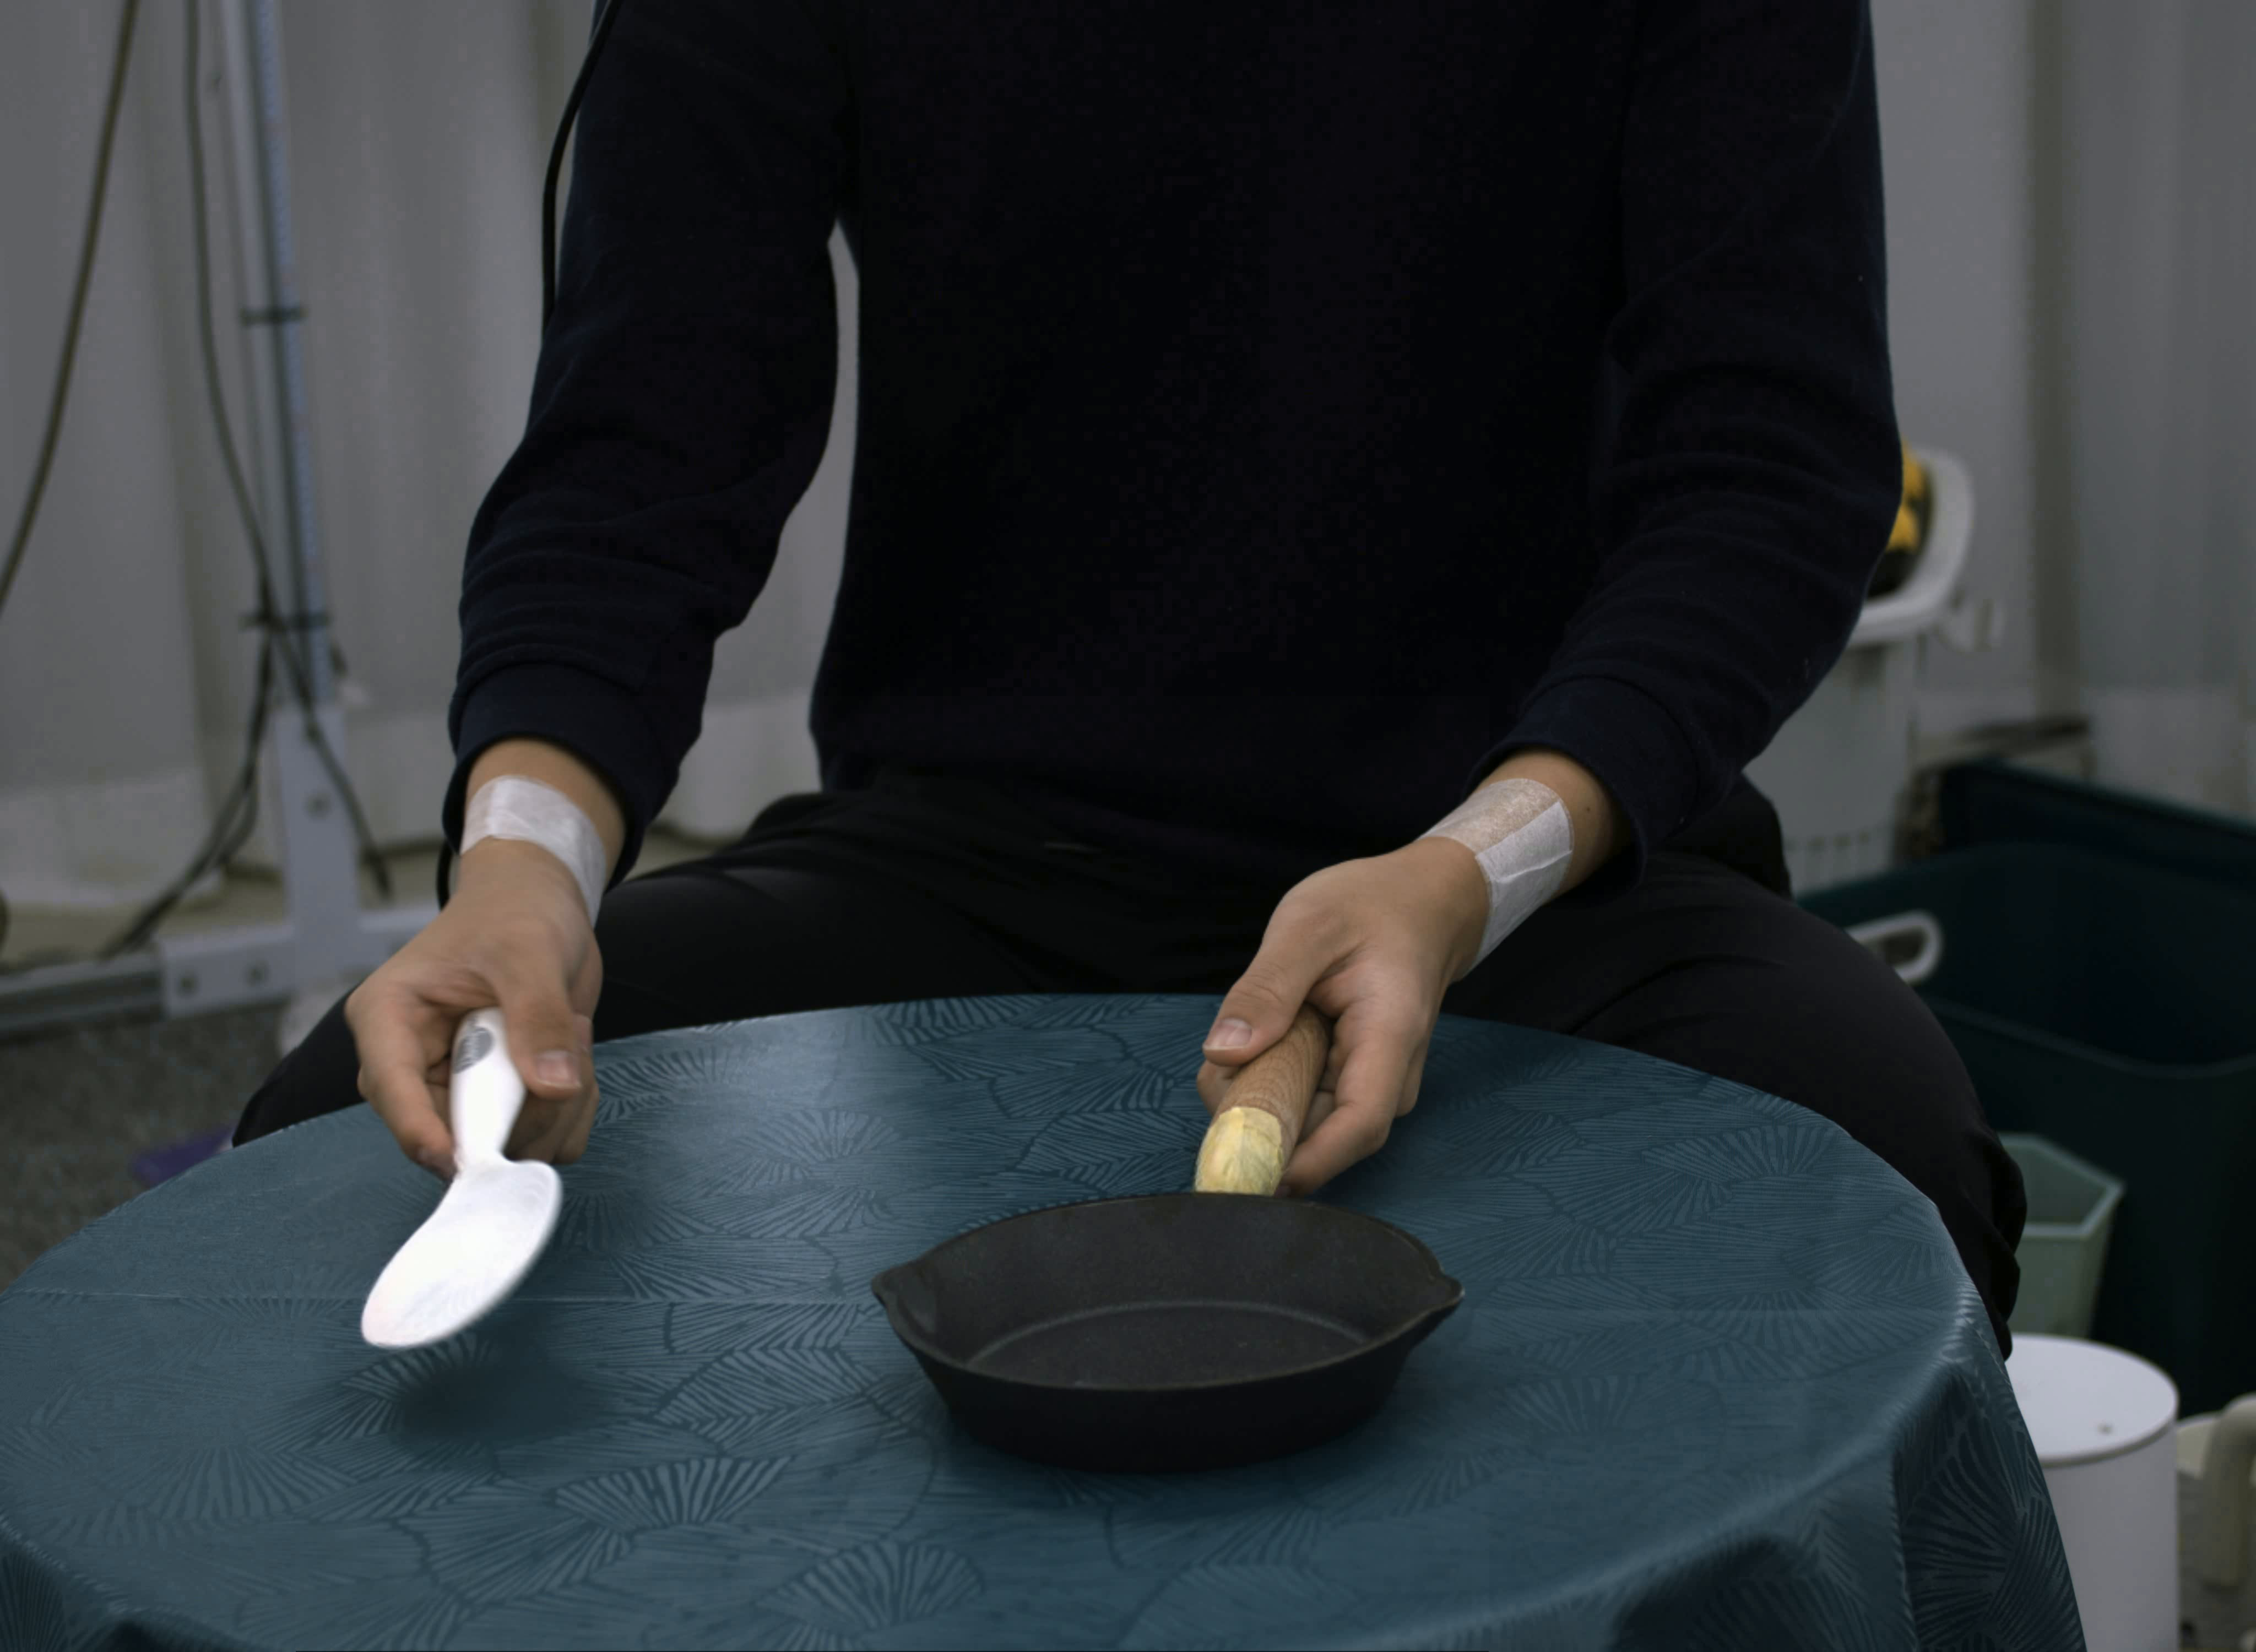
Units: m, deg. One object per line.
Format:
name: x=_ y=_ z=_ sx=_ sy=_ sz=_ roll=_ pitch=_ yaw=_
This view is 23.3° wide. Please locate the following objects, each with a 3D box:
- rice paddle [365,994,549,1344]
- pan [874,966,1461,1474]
rice paddle: x=-0.194 y=0.100 z=1.619 sx=0.068 sy=0.029 sz=0.207 roll=-38 pitch=16 yaw=11
pan: x=0.030 y=0.113 z=1.617 sx=0.169 sy=0.049 sz=0.326 roll=1 pitch=17 yaw=14
